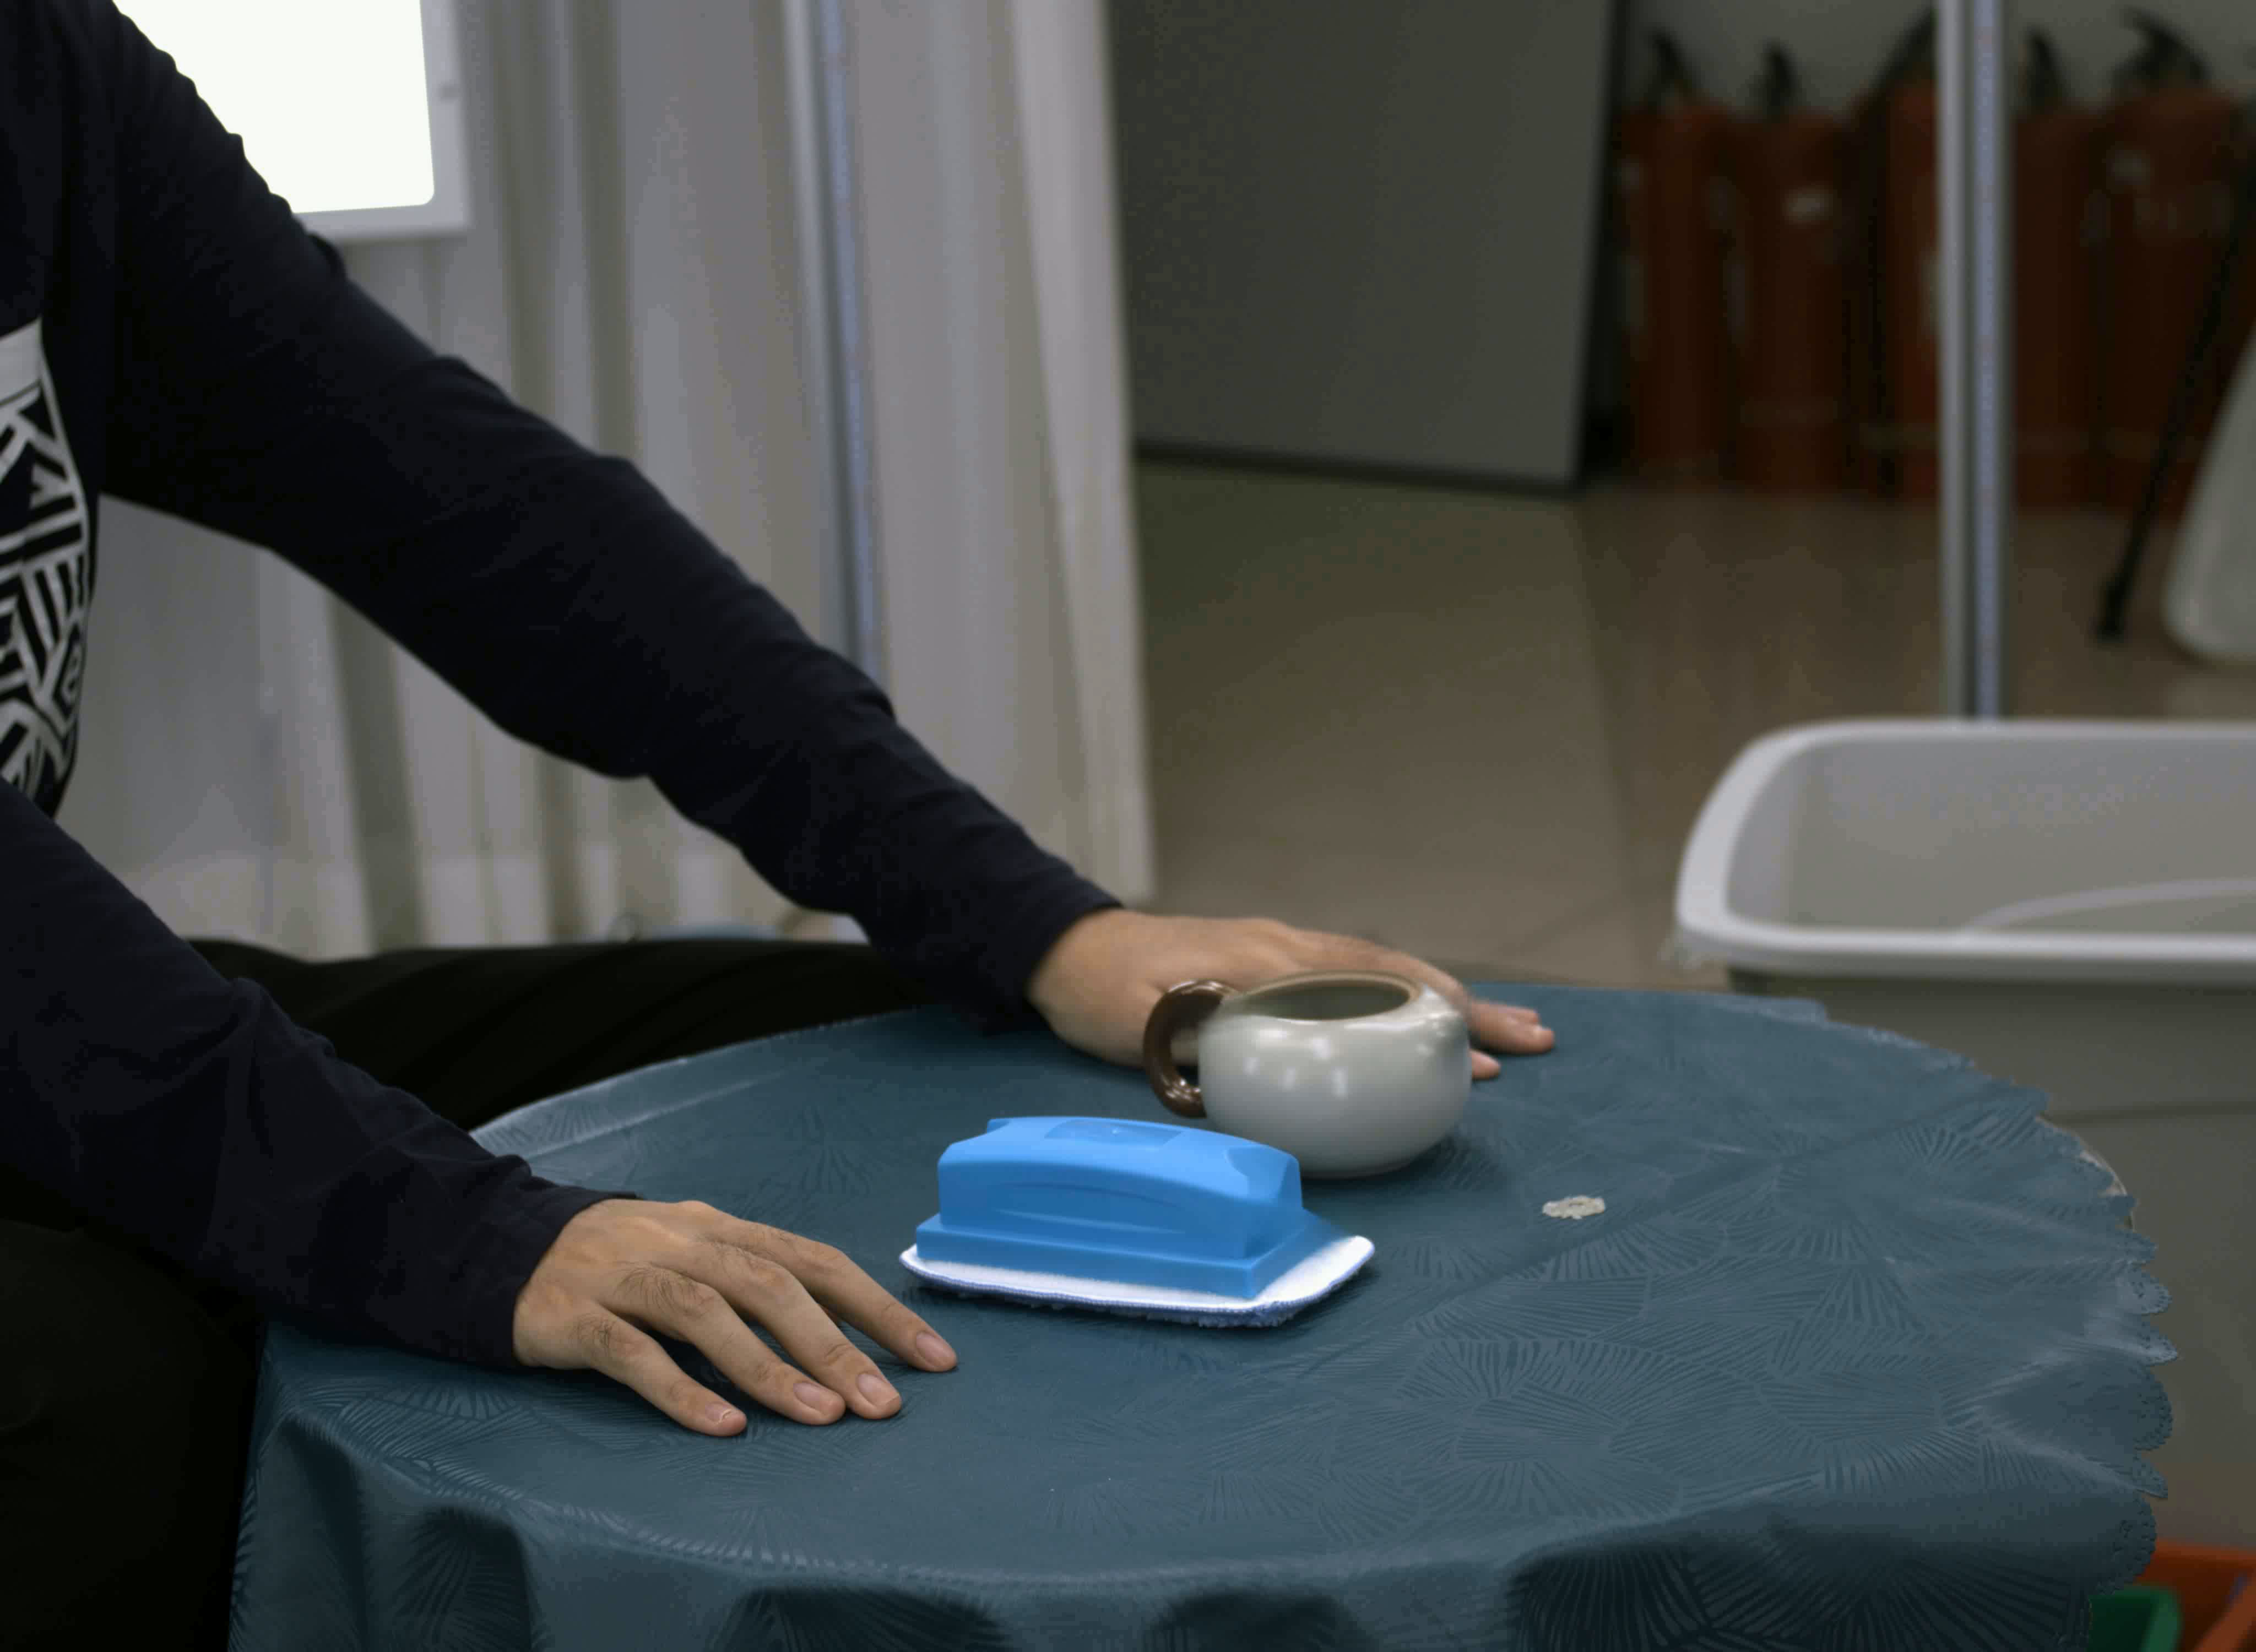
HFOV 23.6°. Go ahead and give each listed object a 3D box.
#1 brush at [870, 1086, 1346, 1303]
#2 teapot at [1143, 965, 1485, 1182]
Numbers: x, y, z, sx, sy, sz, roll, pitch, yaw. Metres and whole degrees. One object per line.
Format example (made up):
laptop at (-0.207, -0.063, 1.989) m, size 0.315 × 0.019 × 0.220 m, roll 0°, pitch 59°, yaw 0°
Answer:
brush at (-0.006, 0.114, 1.680) m, size 0.144 × 0.056 × 0.082 m, roll 7°, pitch 14°, yaw 31°
teapot at (0.062, 0.081, 1.795) m, size 0.128 × 0.060 × 0.090 m, roll 5°, pitch 19°, yaw 28°
